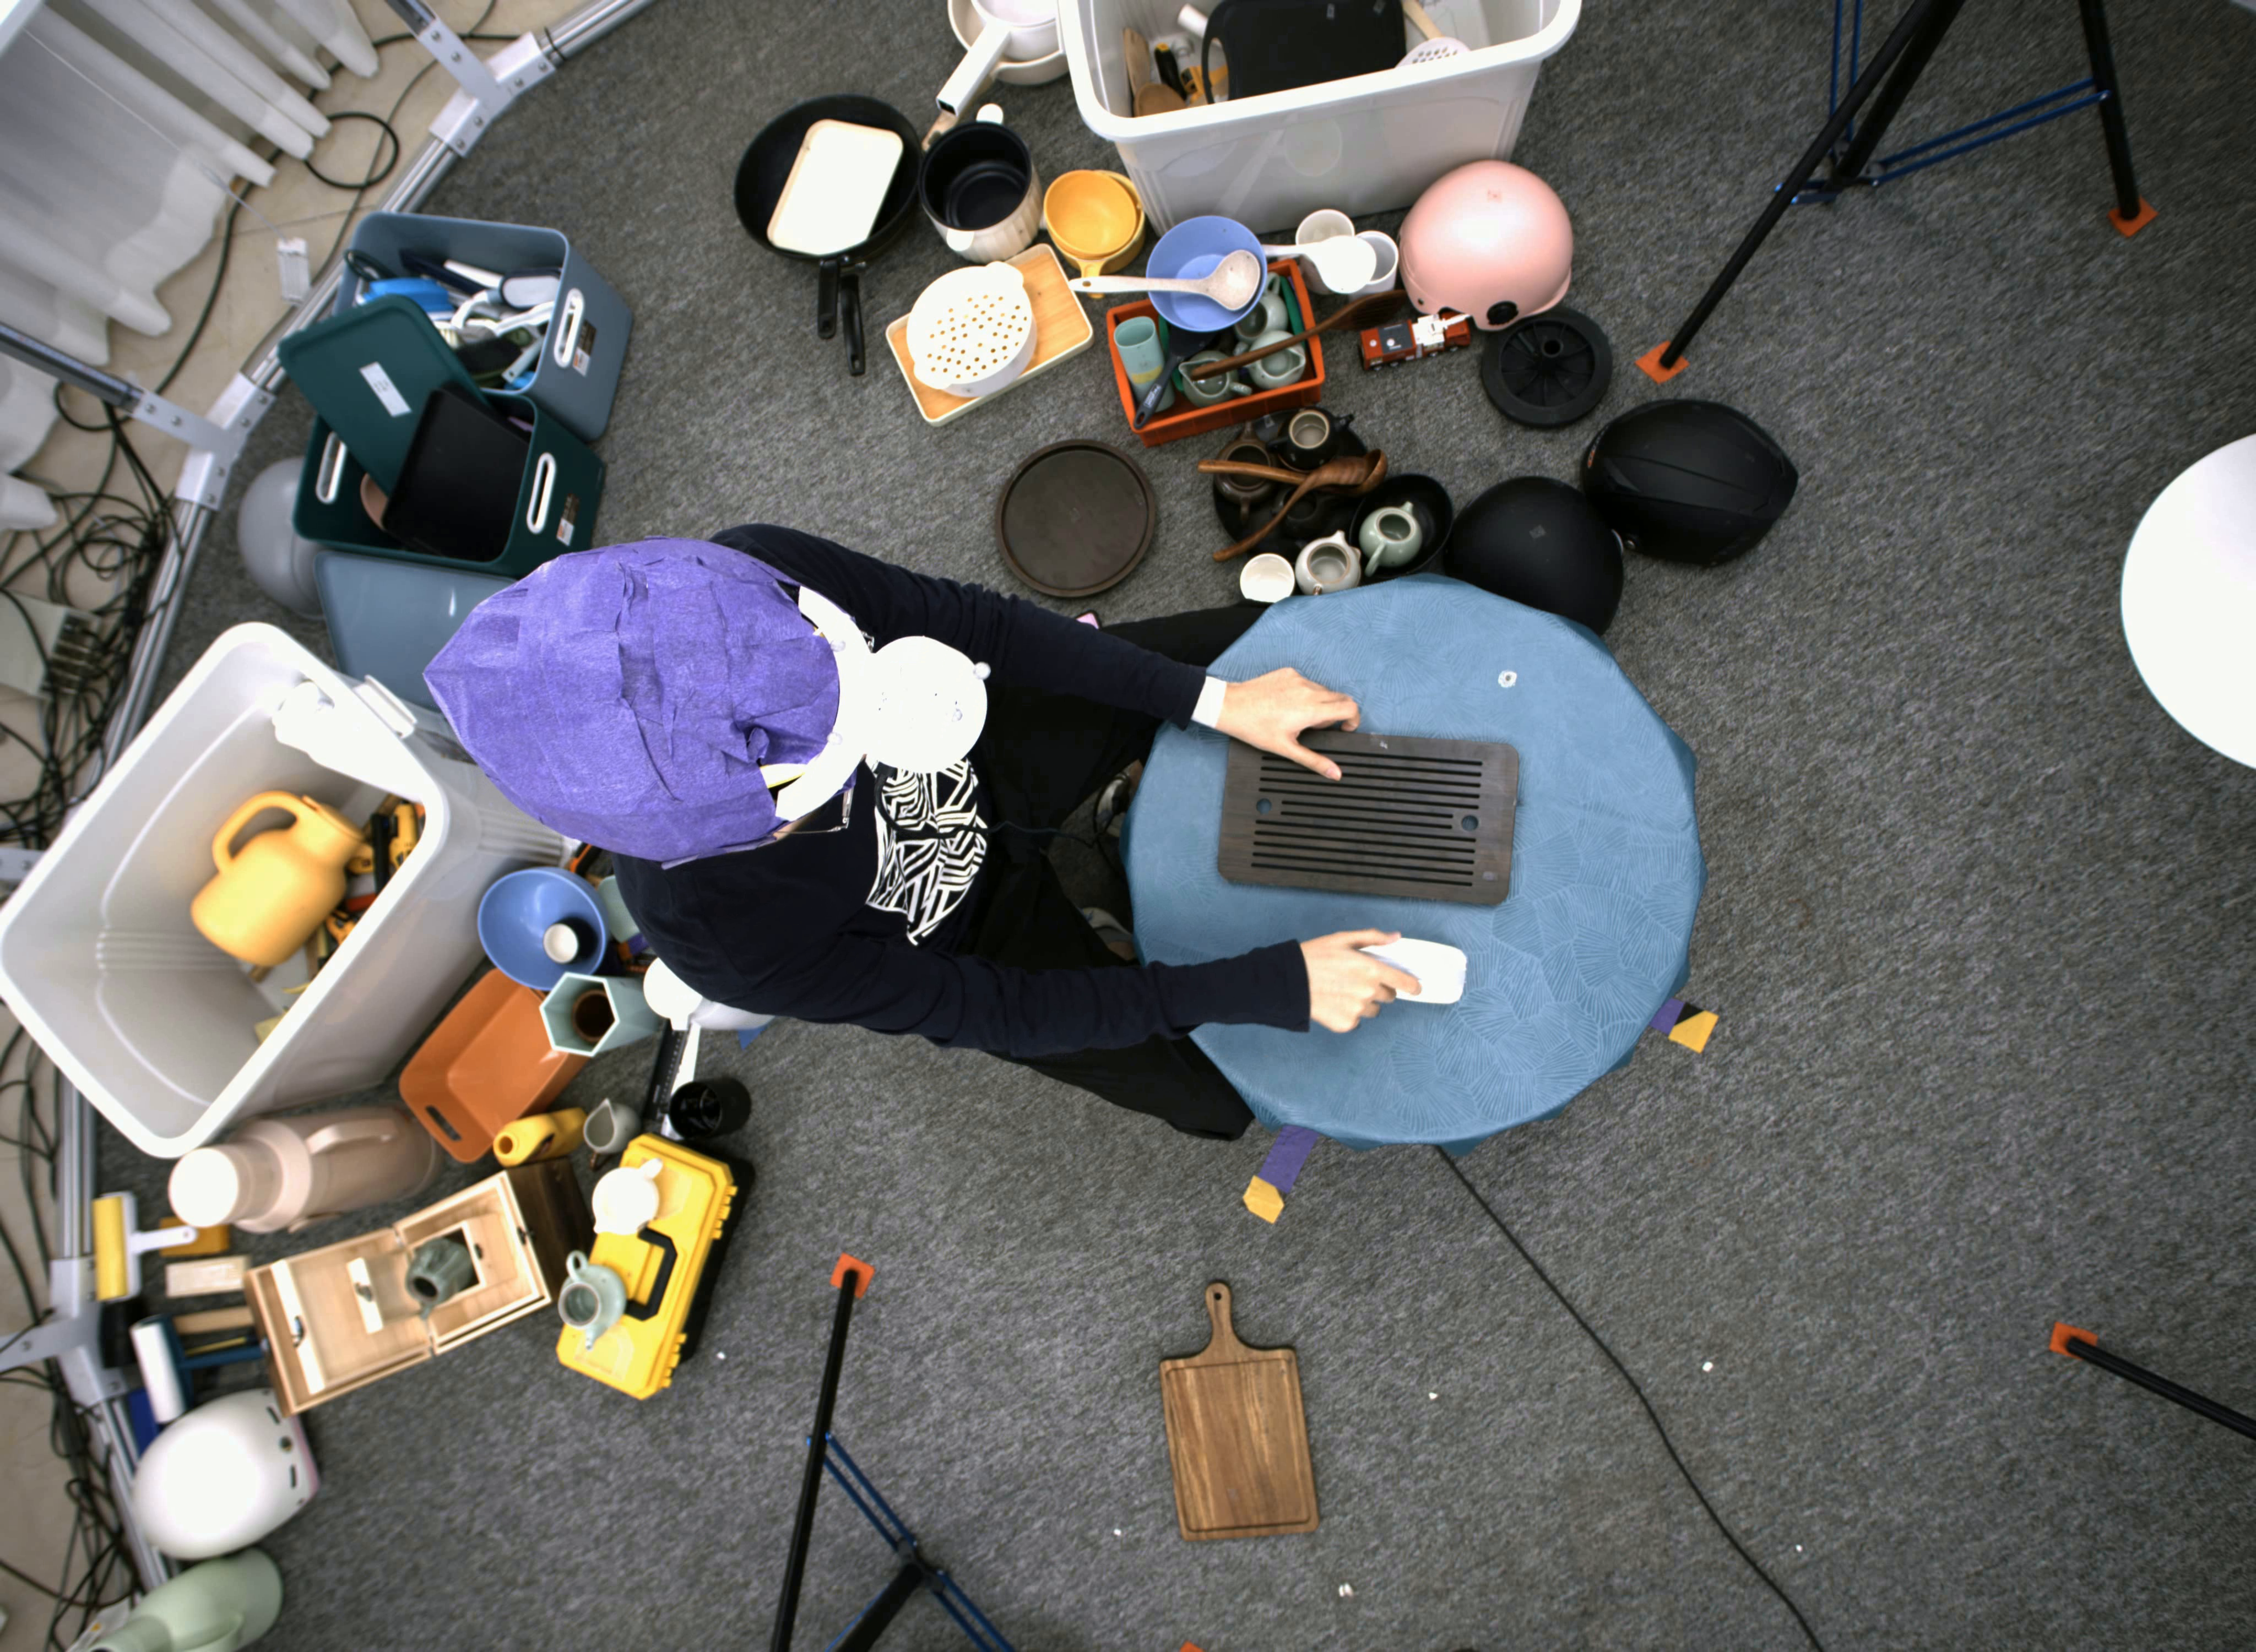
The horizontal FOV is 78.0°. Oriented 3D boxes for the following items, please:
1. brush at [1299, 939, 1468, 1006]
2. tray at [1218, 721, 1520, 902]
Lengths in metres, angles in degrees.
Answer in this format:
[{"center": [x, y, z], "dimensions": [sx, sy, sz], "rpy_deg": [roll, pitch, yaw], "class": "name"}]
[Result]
[{"center": [0.259, 0.143, 1.412], "dimensions": [0.176, 0.094, 0.061], "rpy_deg": [9, 90, 12], "class": "brush"}, {"center": [0.253, -0.018, 1.458], "dimensions": [0.307, 0.018, 0.169], "rpy_deg": [5, 88, 11], "class": "tray"}]
